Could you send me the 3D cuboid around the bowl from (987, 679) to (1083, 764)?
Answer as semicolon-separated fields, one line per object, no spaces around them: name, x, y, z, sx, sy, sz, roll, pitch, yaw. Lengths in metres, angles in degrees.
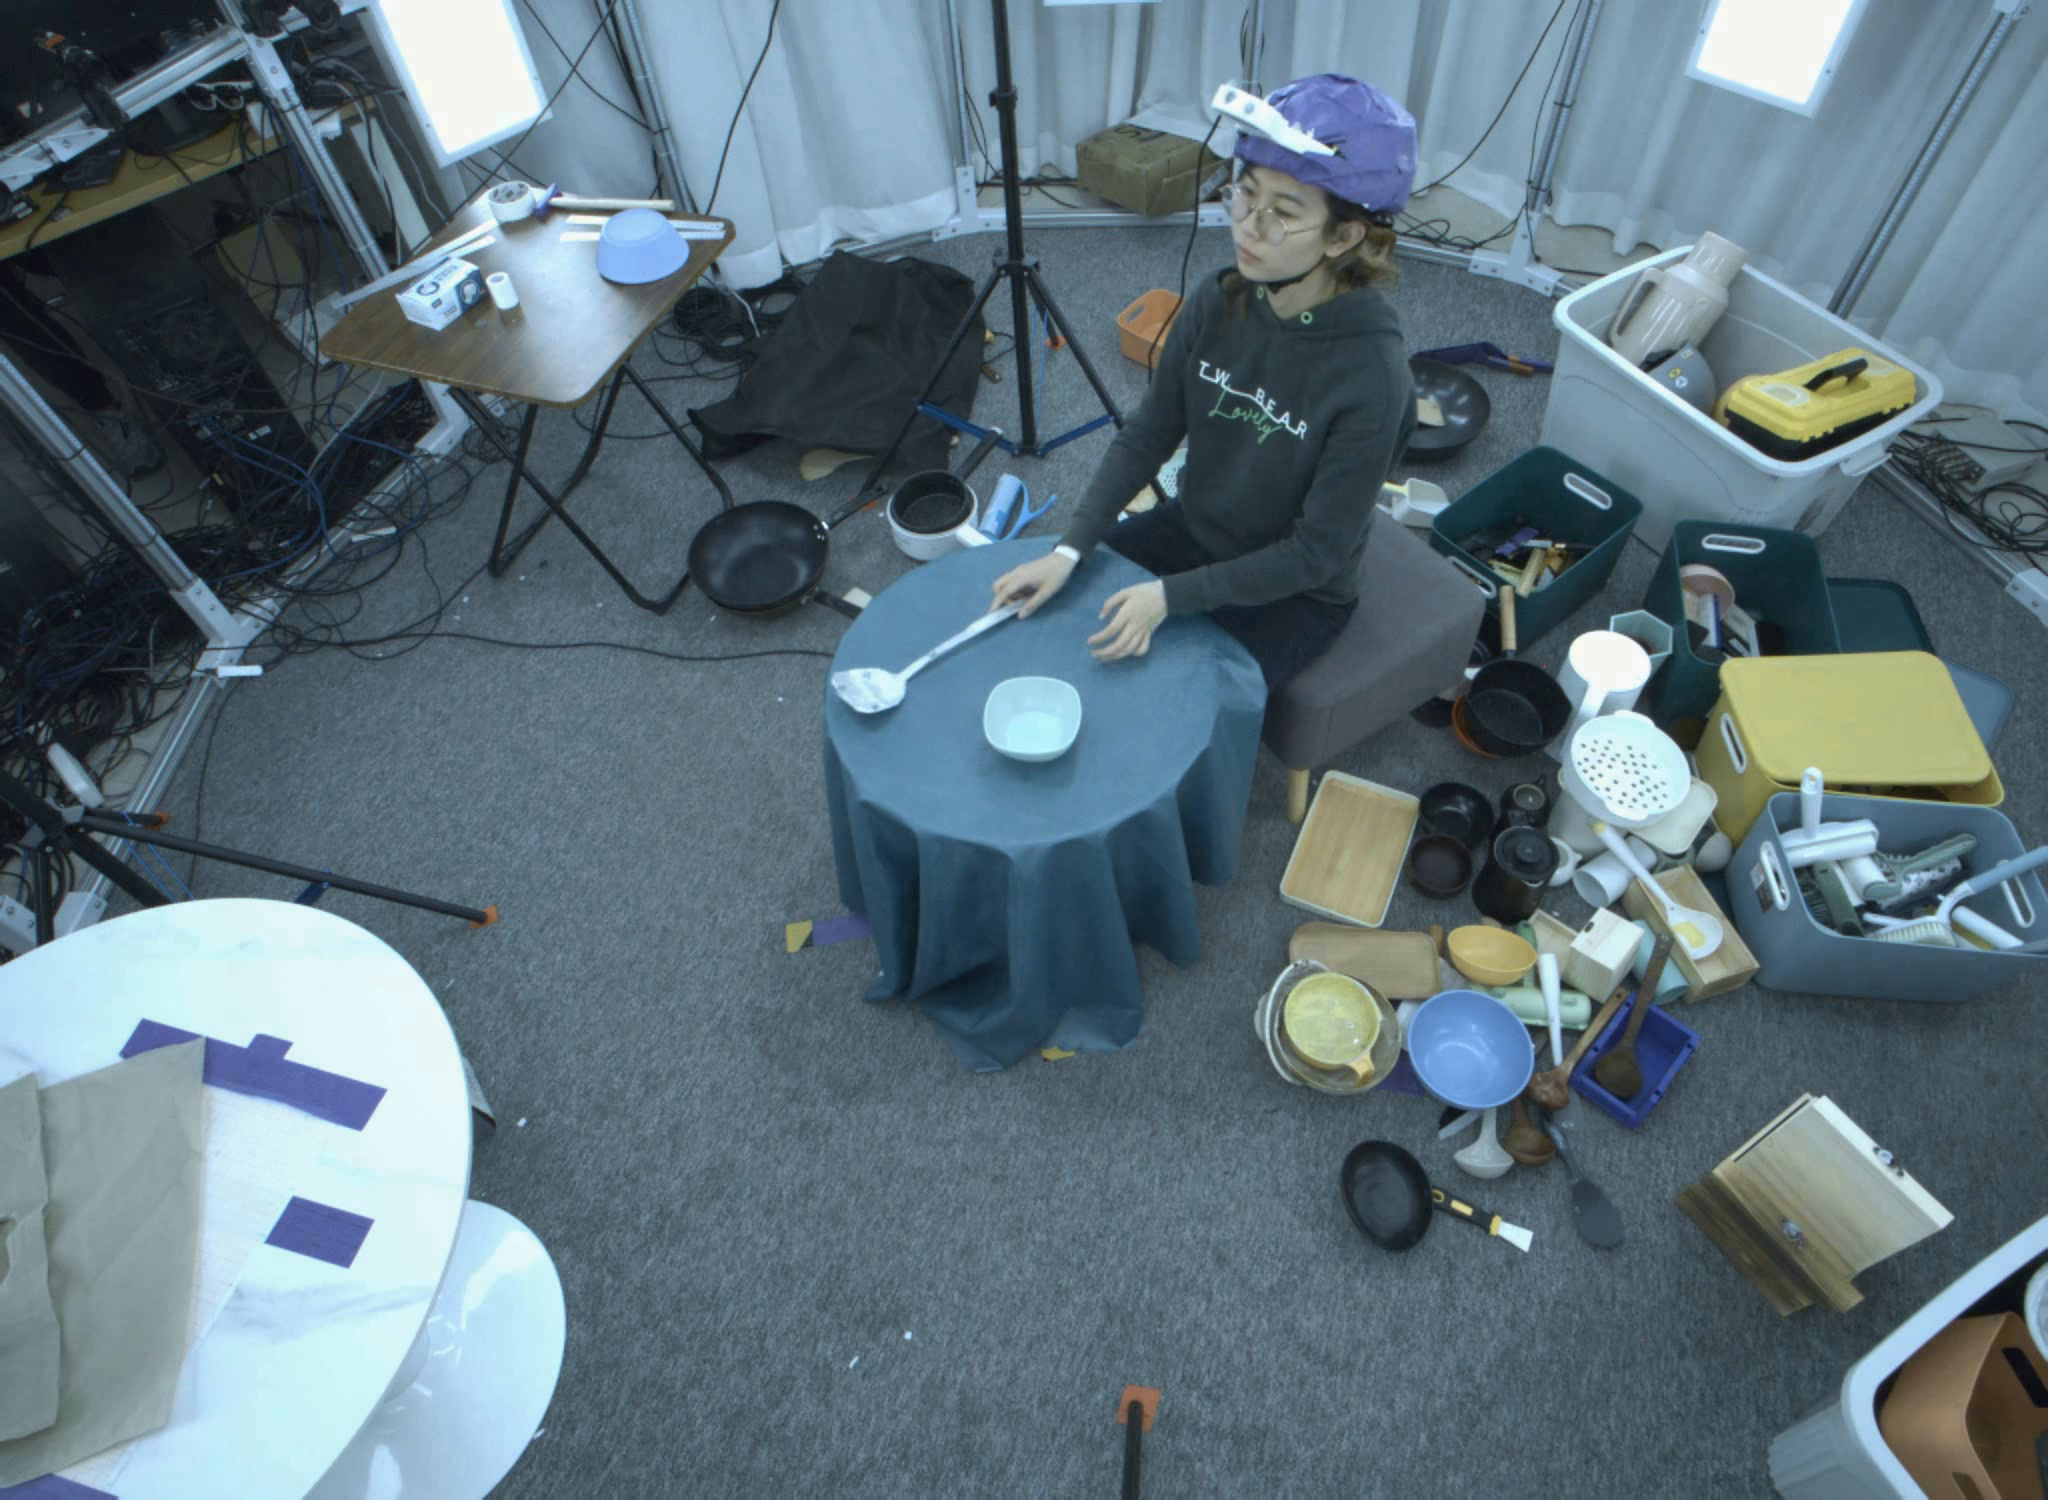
bowl;0.018;-0.031;1.785;0.151;0.059;0.150;-1;57;3

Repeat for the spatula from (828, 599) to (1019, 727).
spatula;-0.141;-0.152;1.885;0.368;0.045;0.098;-38;78;-26
